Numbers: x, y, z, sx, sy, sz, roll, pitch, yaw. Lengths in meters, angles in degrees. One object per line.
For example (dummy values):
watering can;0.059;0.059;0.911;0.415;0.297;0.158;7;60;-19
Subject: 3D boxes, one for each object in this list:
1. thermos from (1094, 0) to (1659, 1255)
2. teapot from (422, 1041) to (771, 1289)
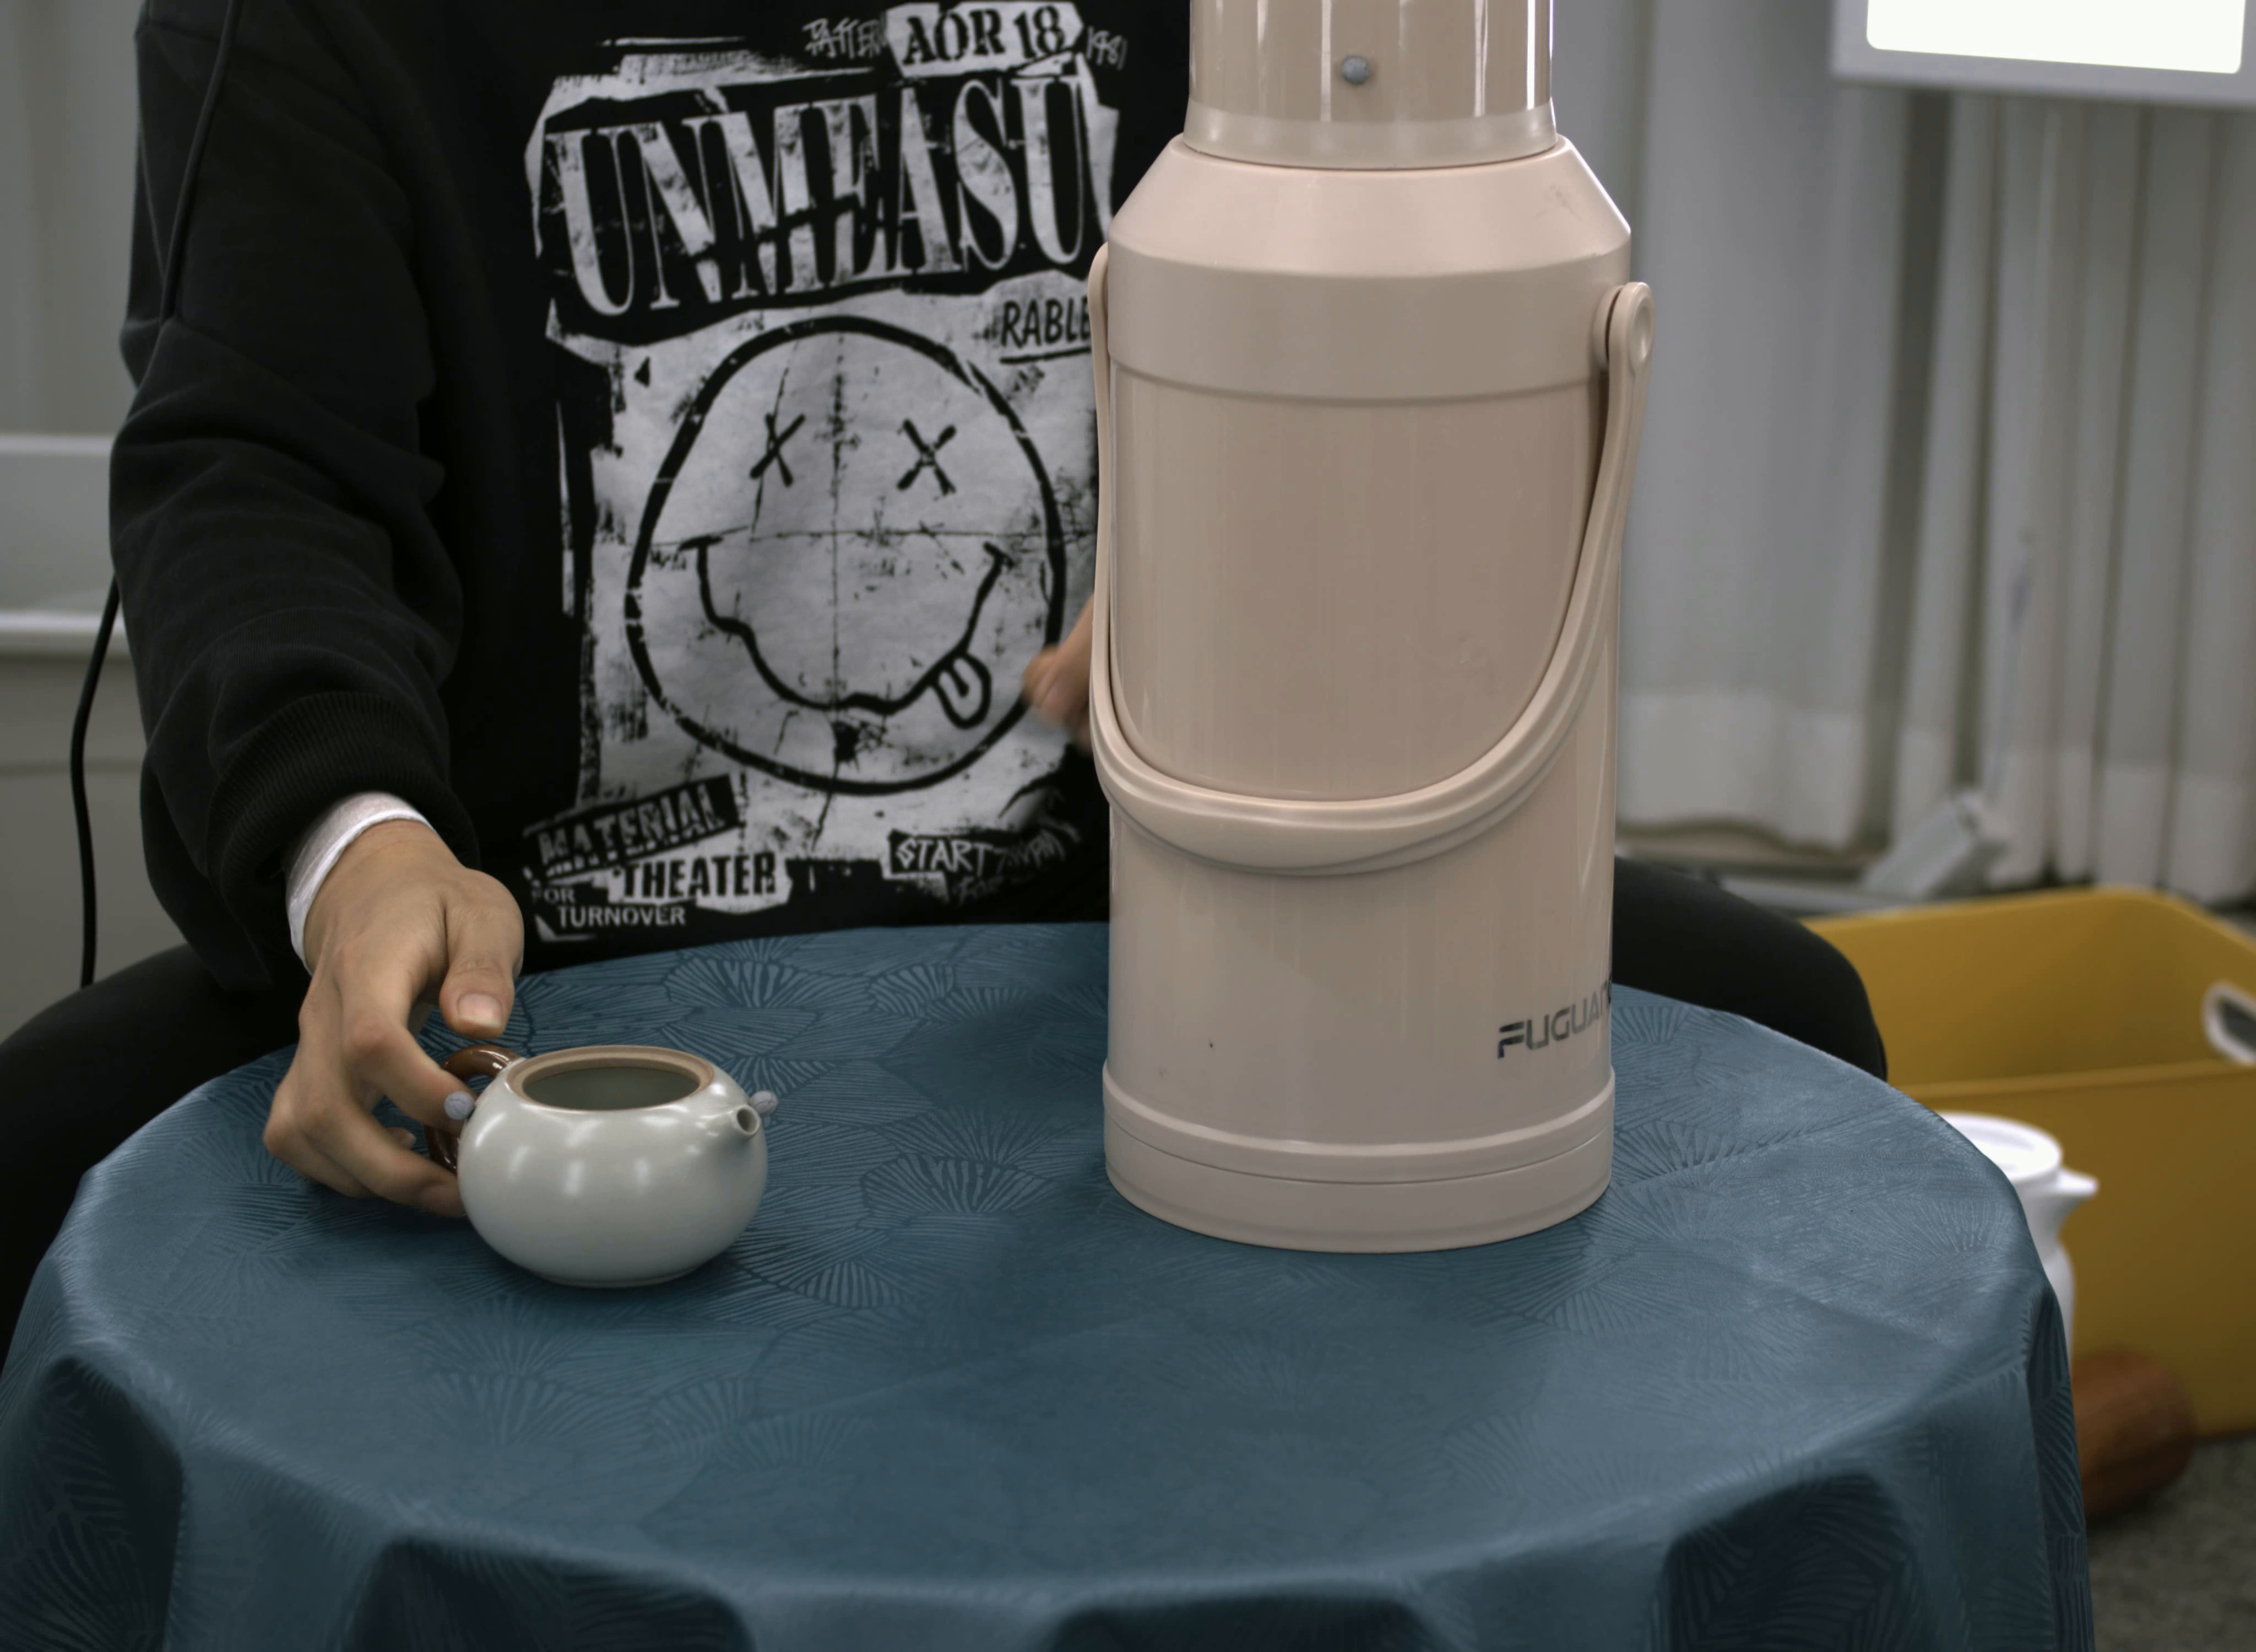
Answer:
thermos;0.081;-0.088;1.601;0.173;0.410;0.207;6;18;24
teapot;-0.159;0.098;1.559;0.126;0.060;0.092;12;22;31
